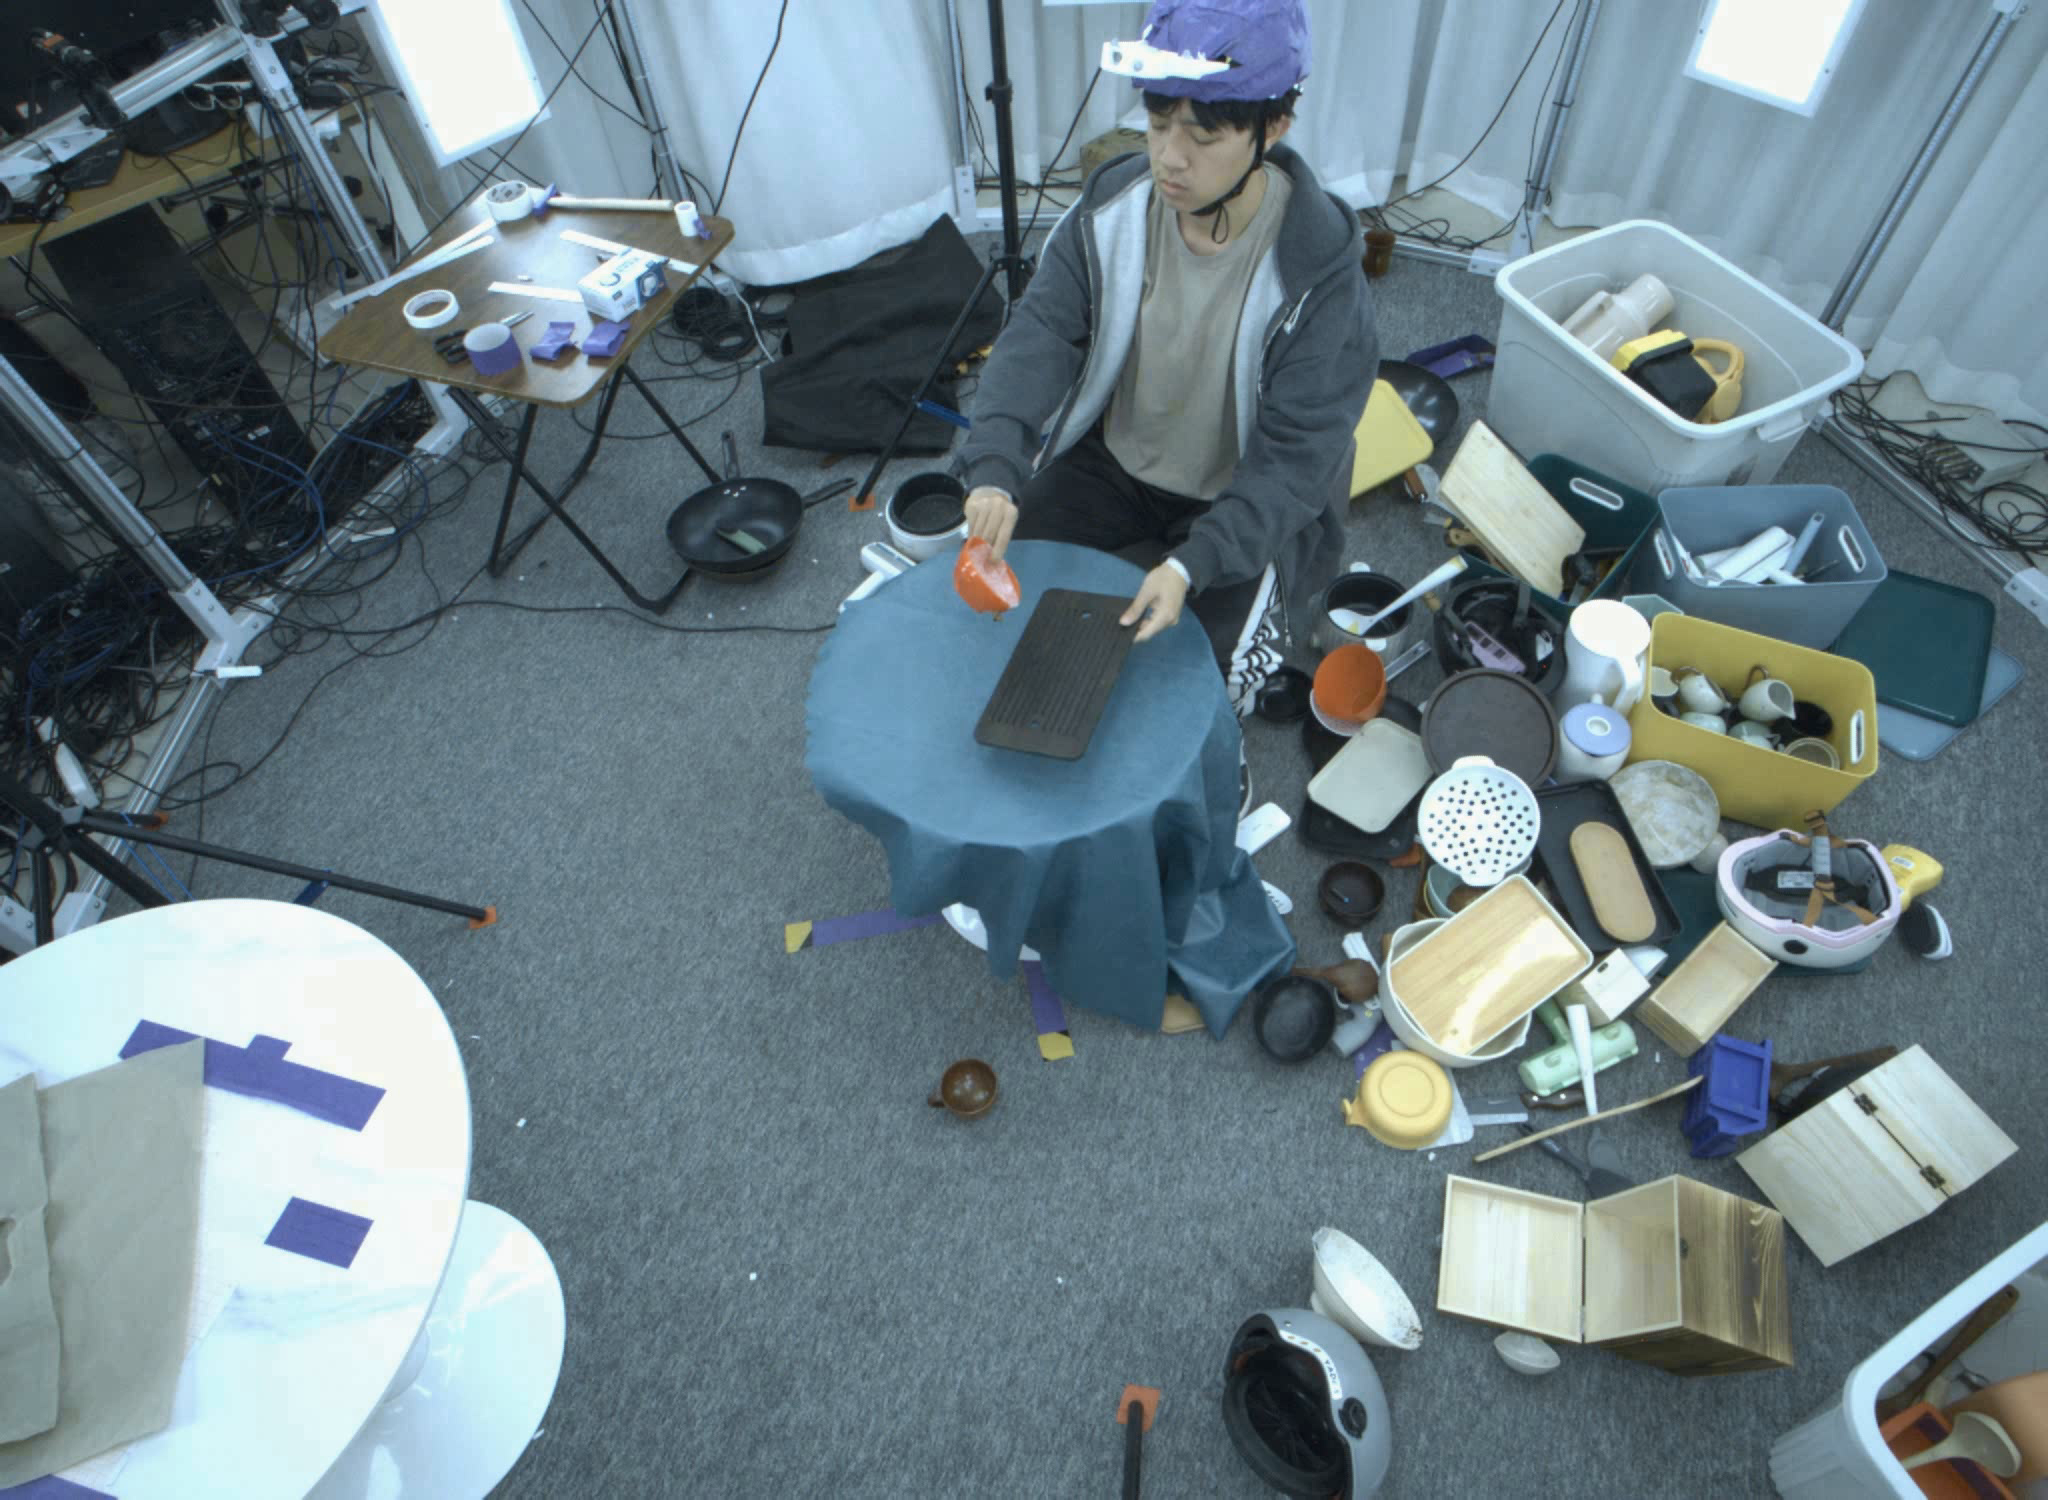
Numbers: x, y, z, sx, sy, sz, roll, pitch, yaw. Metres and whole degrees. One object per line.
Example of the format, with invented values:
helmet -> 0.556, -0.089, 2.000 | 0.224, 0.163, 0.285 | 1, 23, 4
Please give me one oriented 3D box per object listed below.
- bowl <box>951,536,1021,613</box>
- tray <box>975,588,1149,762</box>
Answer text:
bowl -> -0.060, -0.235, 1.705 | 0.051, 0.122, 0.117 | -34, 51, 26
tray -> 0.059, -0.113, 1.788 | 0.167, 0.019, 0.305 | 11, 57, 21
